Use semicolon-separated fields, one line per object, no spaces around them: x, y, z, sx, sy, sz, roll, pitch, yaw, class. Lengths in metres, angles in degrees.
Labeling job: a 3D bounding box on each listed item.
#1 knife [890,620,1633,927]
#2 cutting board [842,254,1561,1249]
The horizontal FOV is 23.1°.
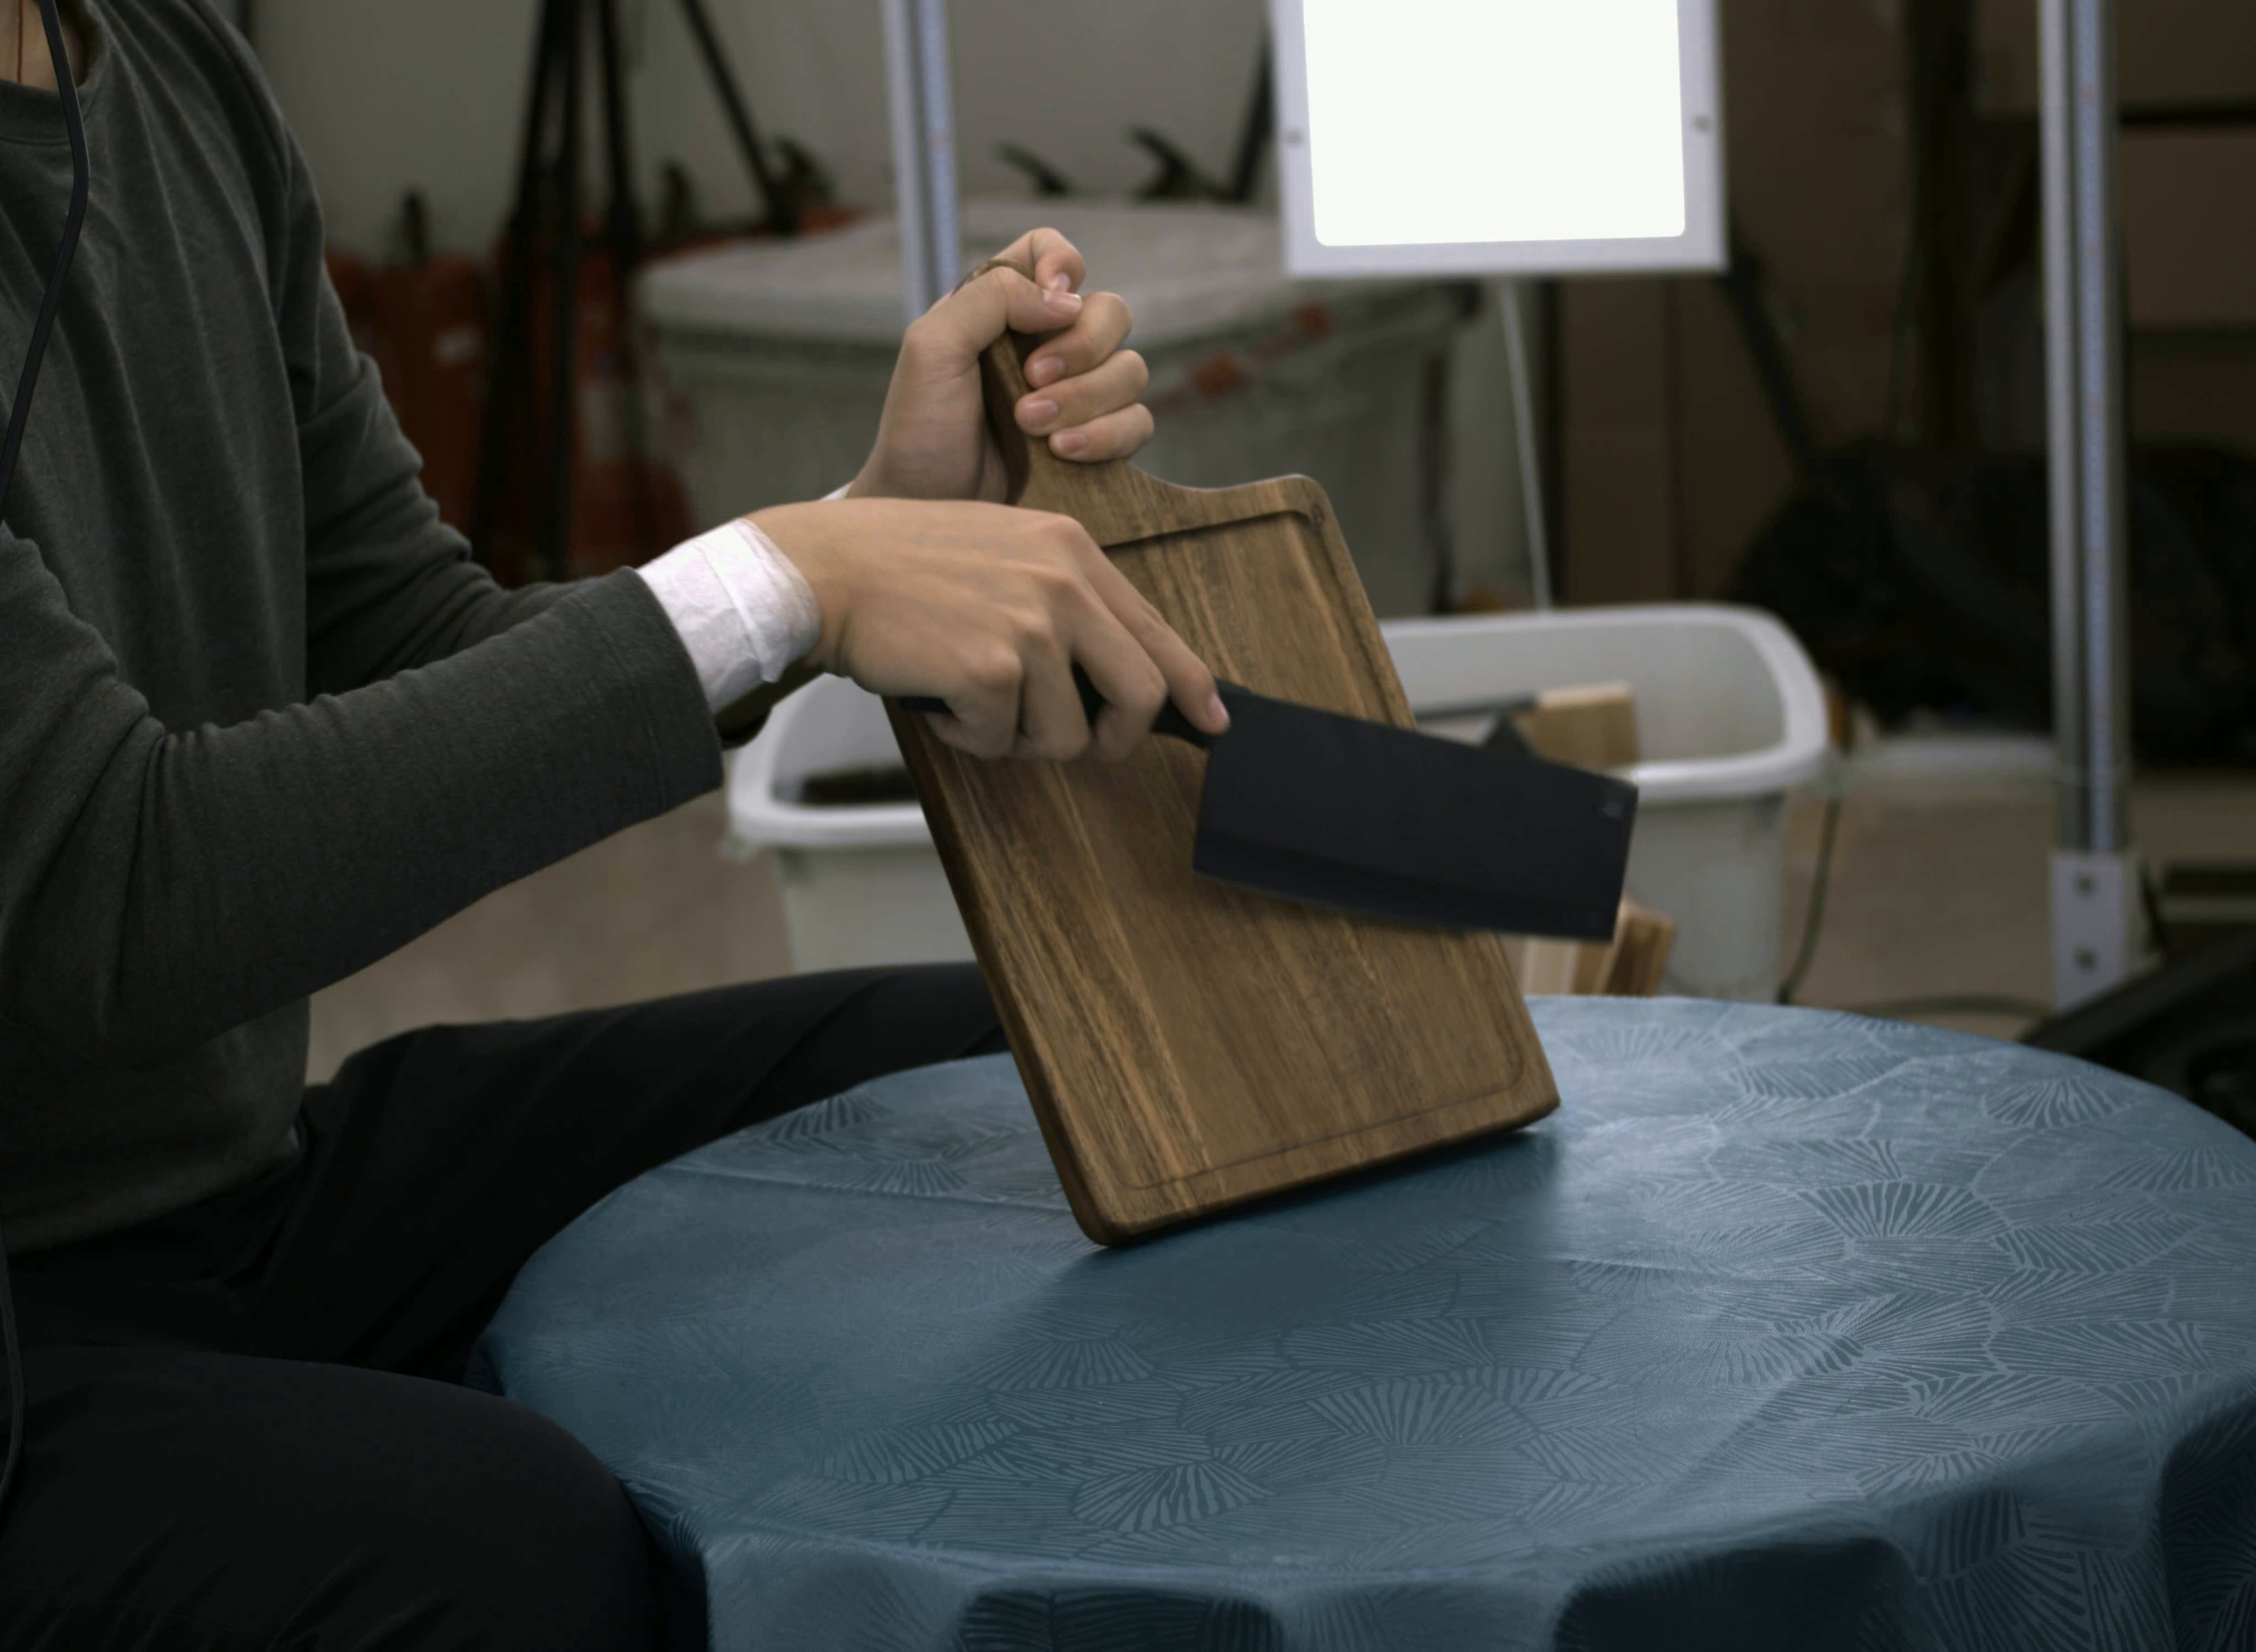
0.052;-0.019;1.893;0.296;0.081;0.021;16;-7;-28;knife
0.010;-0.039;1.920;0.196;0.353;0.023;-14;-14;-30;cutting board
